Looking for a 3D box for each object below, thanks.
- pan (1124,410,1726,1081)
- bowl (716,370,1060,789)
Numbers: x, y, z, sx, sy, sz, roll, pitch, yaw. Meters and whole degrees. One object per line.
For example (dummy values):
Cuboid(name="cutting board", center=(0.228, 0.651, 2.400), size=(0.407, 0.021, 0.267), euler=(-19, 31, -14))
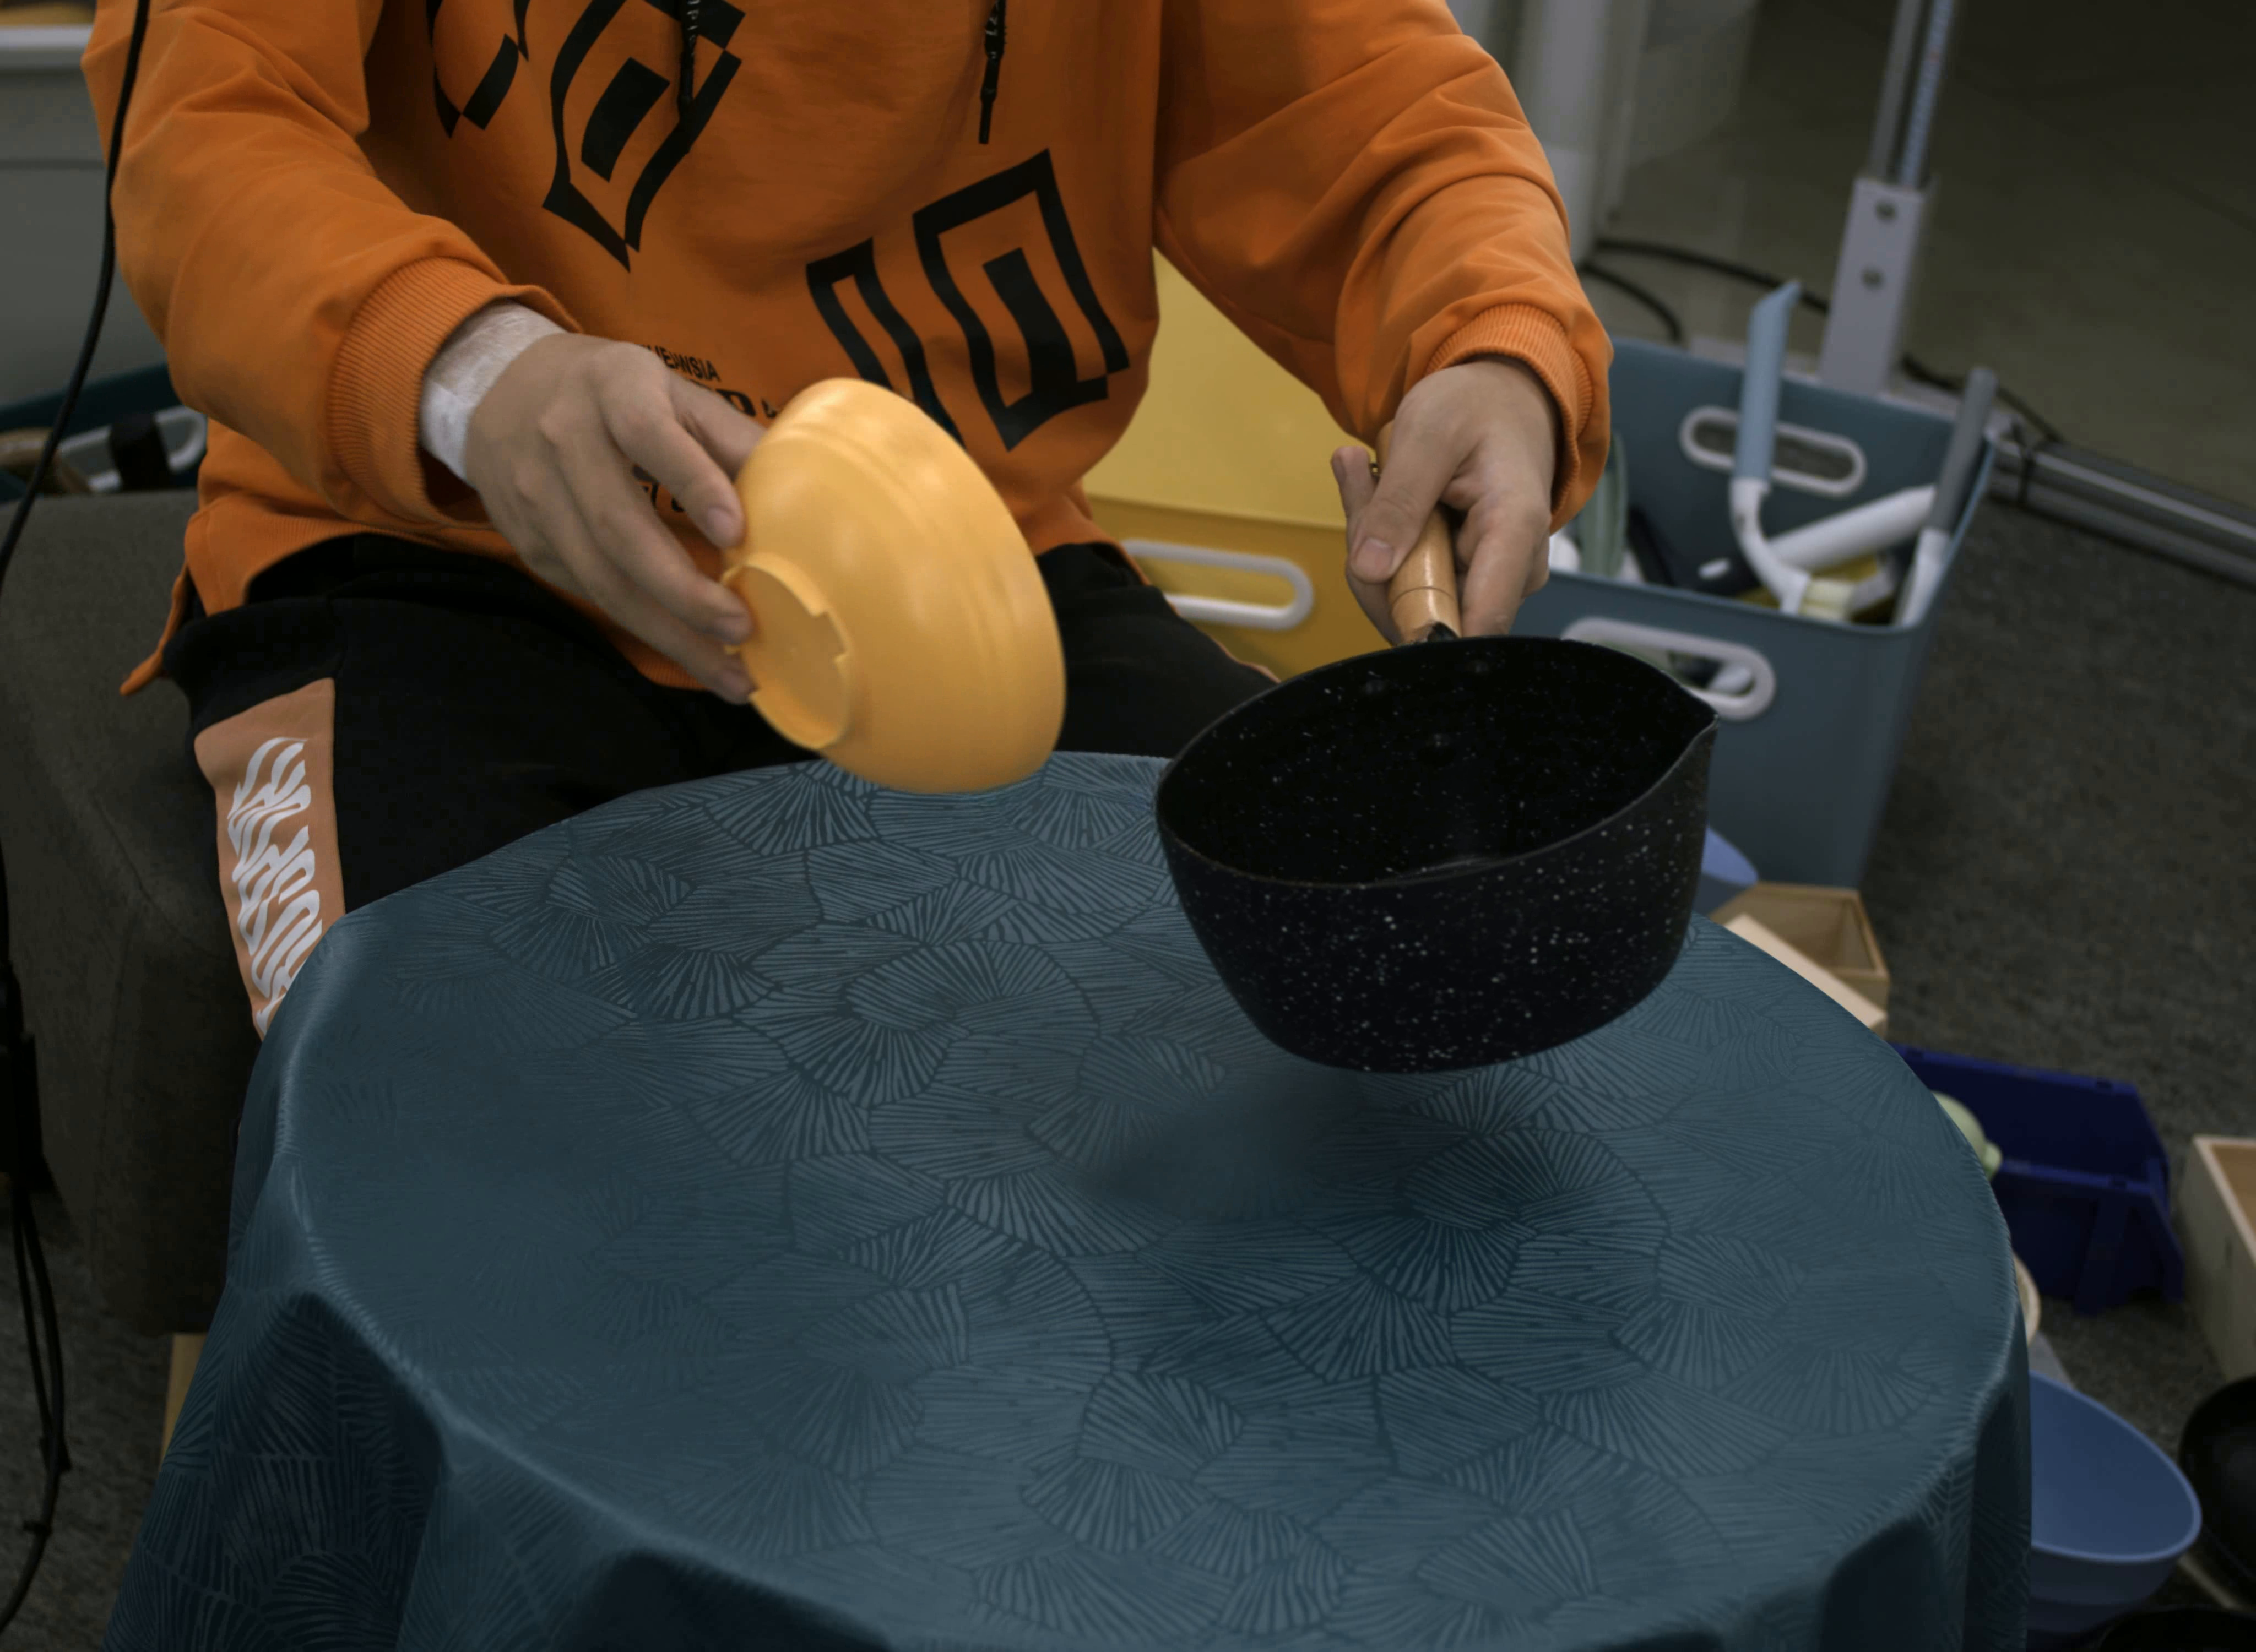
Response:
Cuboid(name="pan", center=(0.106, -0.033, 1.879), size=(0.207, 0.108, 0.345), euler=(-10, 27, 6))
Cuboid(name="bowl", center=(-0.089, -0.069, 1.711), size=(0.060, 0.144, 0.146), euler=(-30, 43, -30))
